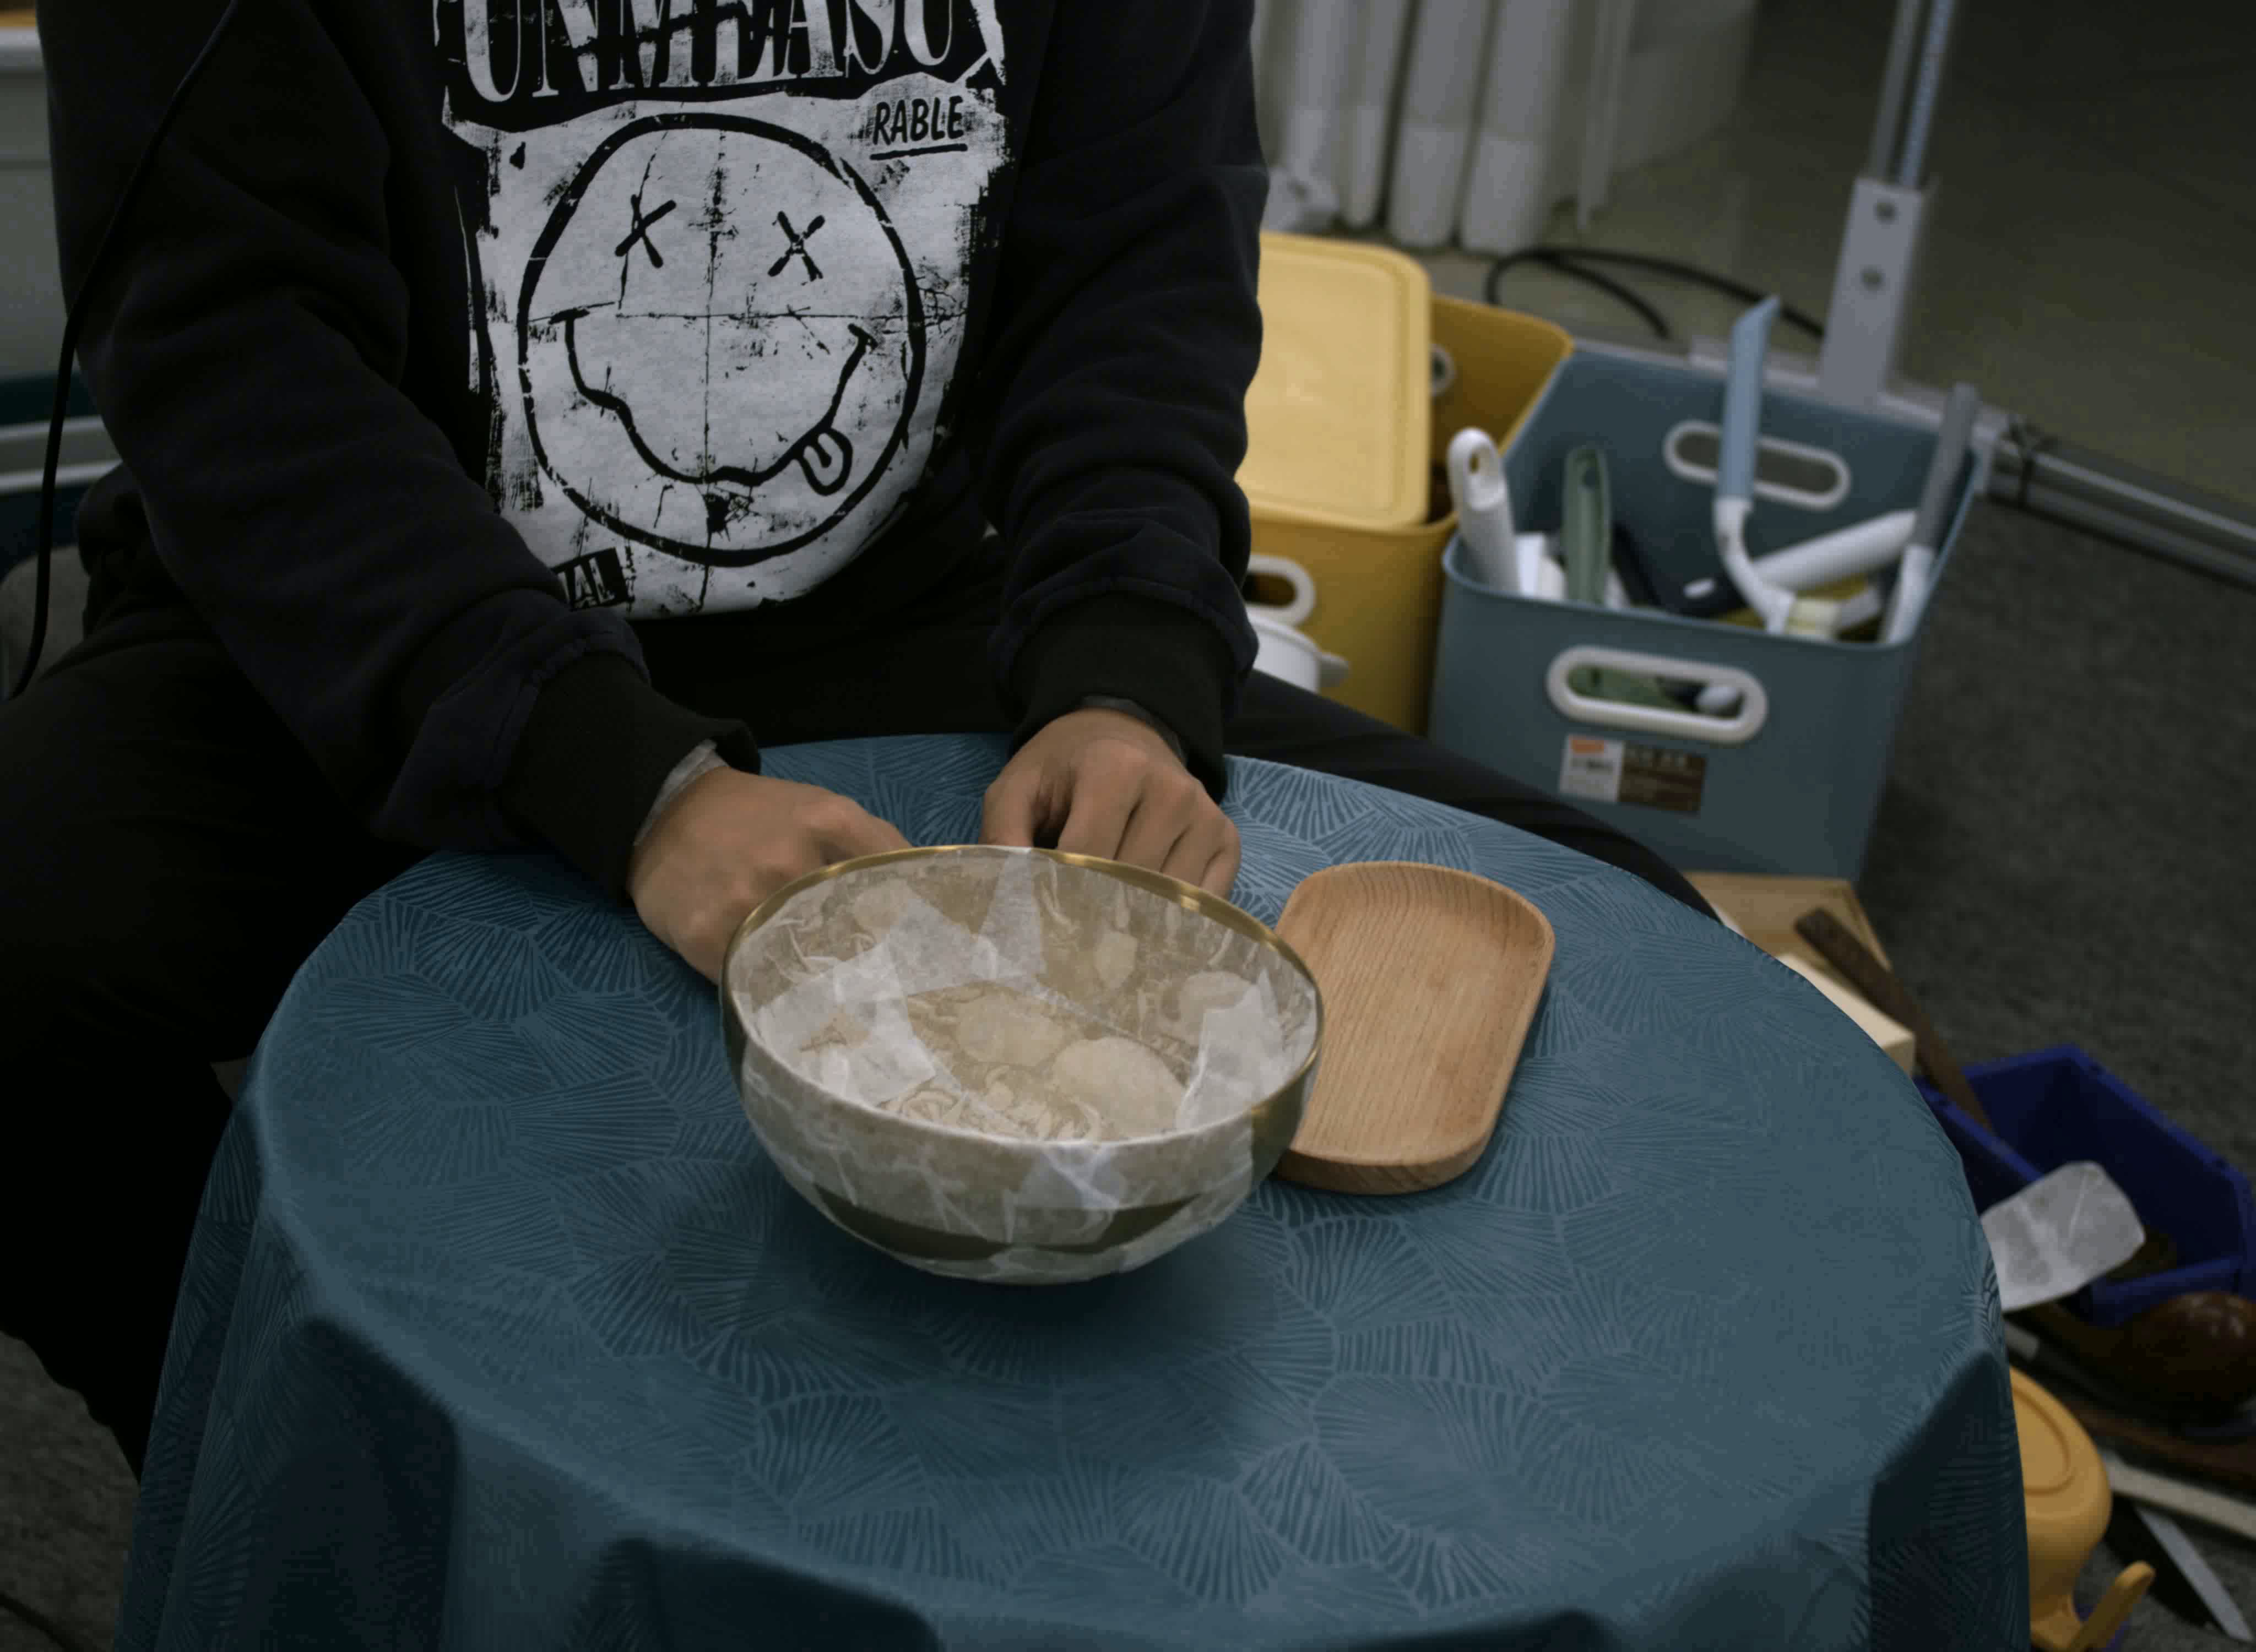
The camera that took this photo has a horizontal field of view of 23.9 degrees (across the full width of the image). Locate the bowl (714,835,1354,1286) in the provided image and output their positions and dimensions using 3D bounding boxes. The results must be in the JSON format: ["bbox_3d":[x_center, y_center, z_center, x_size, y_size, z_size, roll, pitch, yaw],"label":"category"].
[{"bbox_3d":[-0.035,0.089,1.757,0.214,0.094,0.216,4,27,-2],"label":"bowl"}]

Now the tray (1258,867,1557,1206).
[{"bbox_3d":[0.094,0.073,1.905,0.101,0.020,0.232,9,29,9],"label":"tray"}]
